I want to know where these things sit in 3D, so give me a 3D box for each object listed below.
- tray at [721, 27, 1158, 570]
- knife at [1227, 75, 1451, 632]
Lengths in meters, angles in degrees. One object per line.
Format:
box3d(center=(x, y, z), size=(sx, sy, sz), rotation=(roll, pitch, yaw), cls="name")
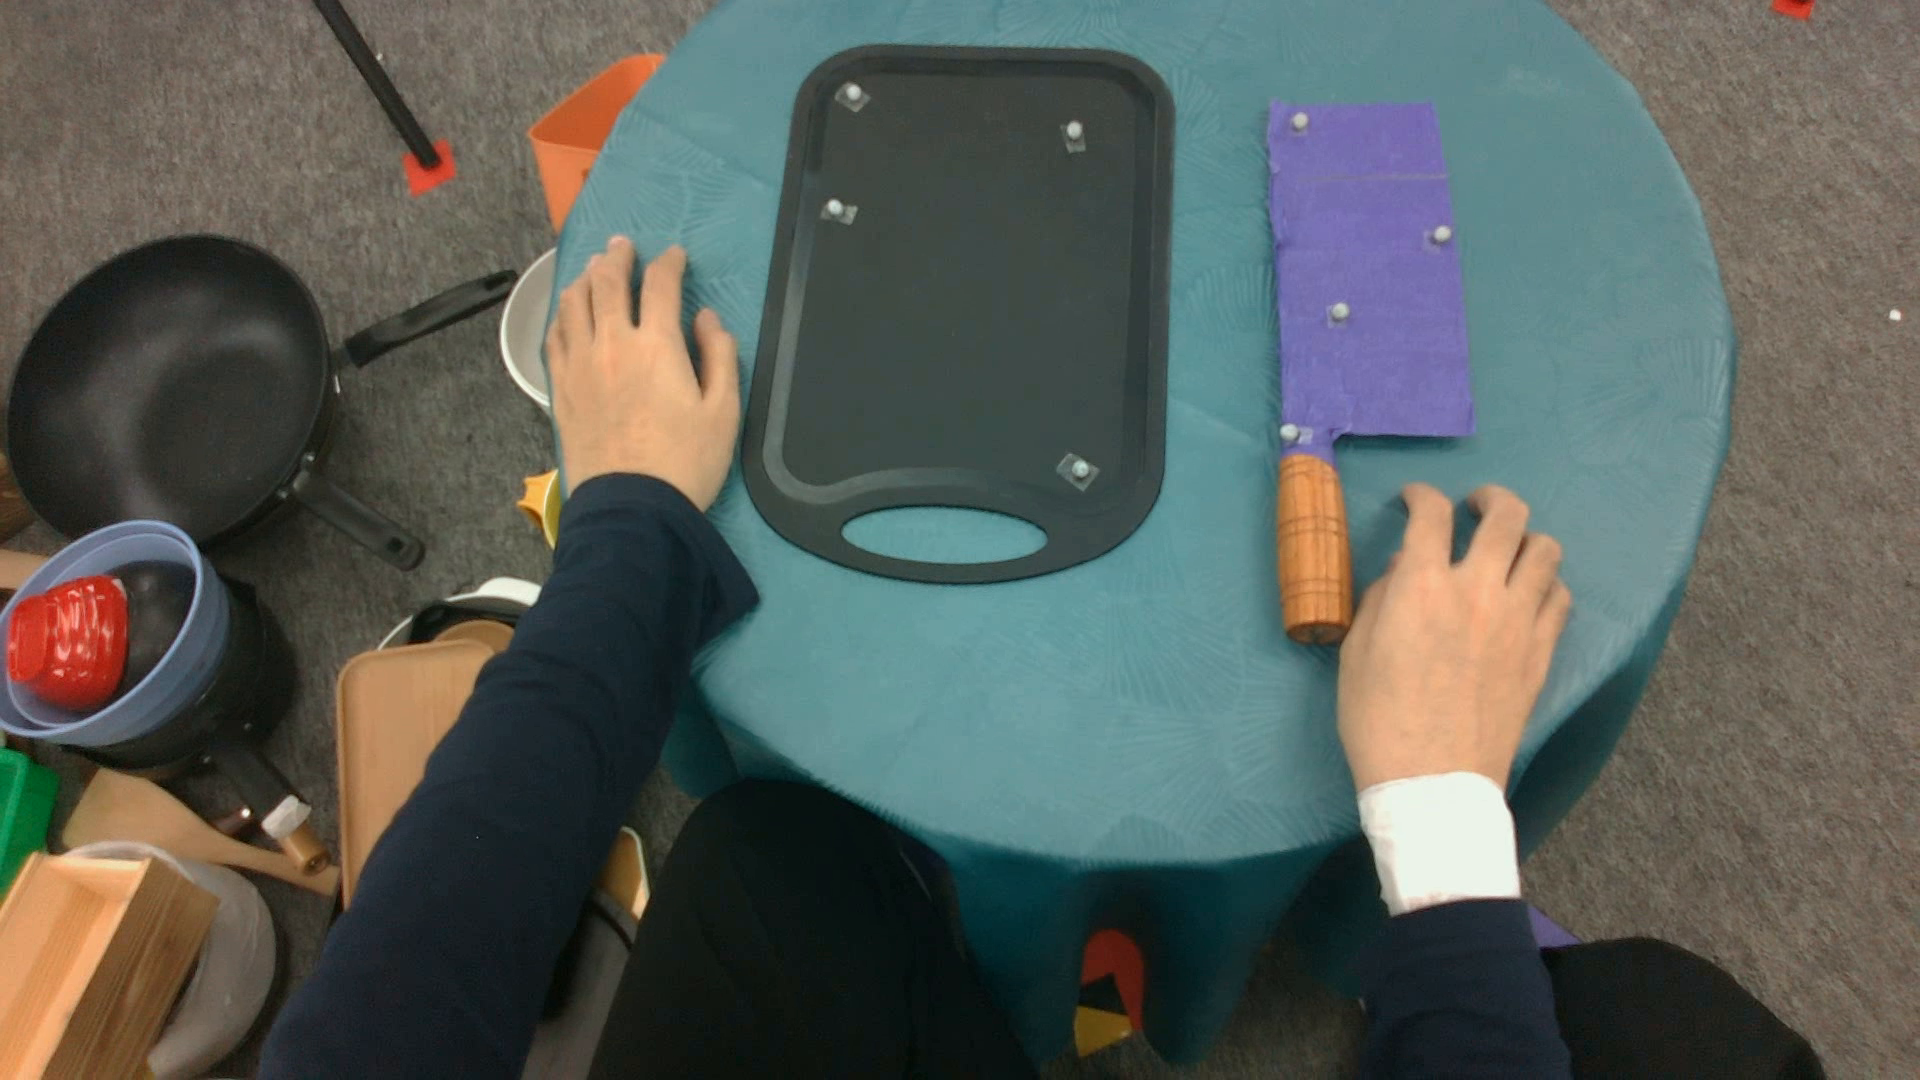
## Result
box3d(center=(-0.006, -0.137, 0.710), size=(0.211, 0.010, 0.326), rotation=(3, 68, 4), cls="tray")
box3d(center=(0.191, -0.107, 0.678), size=(0.104, 0.032, 0.316), rotation=(0, 67, 3), cls="knife")
